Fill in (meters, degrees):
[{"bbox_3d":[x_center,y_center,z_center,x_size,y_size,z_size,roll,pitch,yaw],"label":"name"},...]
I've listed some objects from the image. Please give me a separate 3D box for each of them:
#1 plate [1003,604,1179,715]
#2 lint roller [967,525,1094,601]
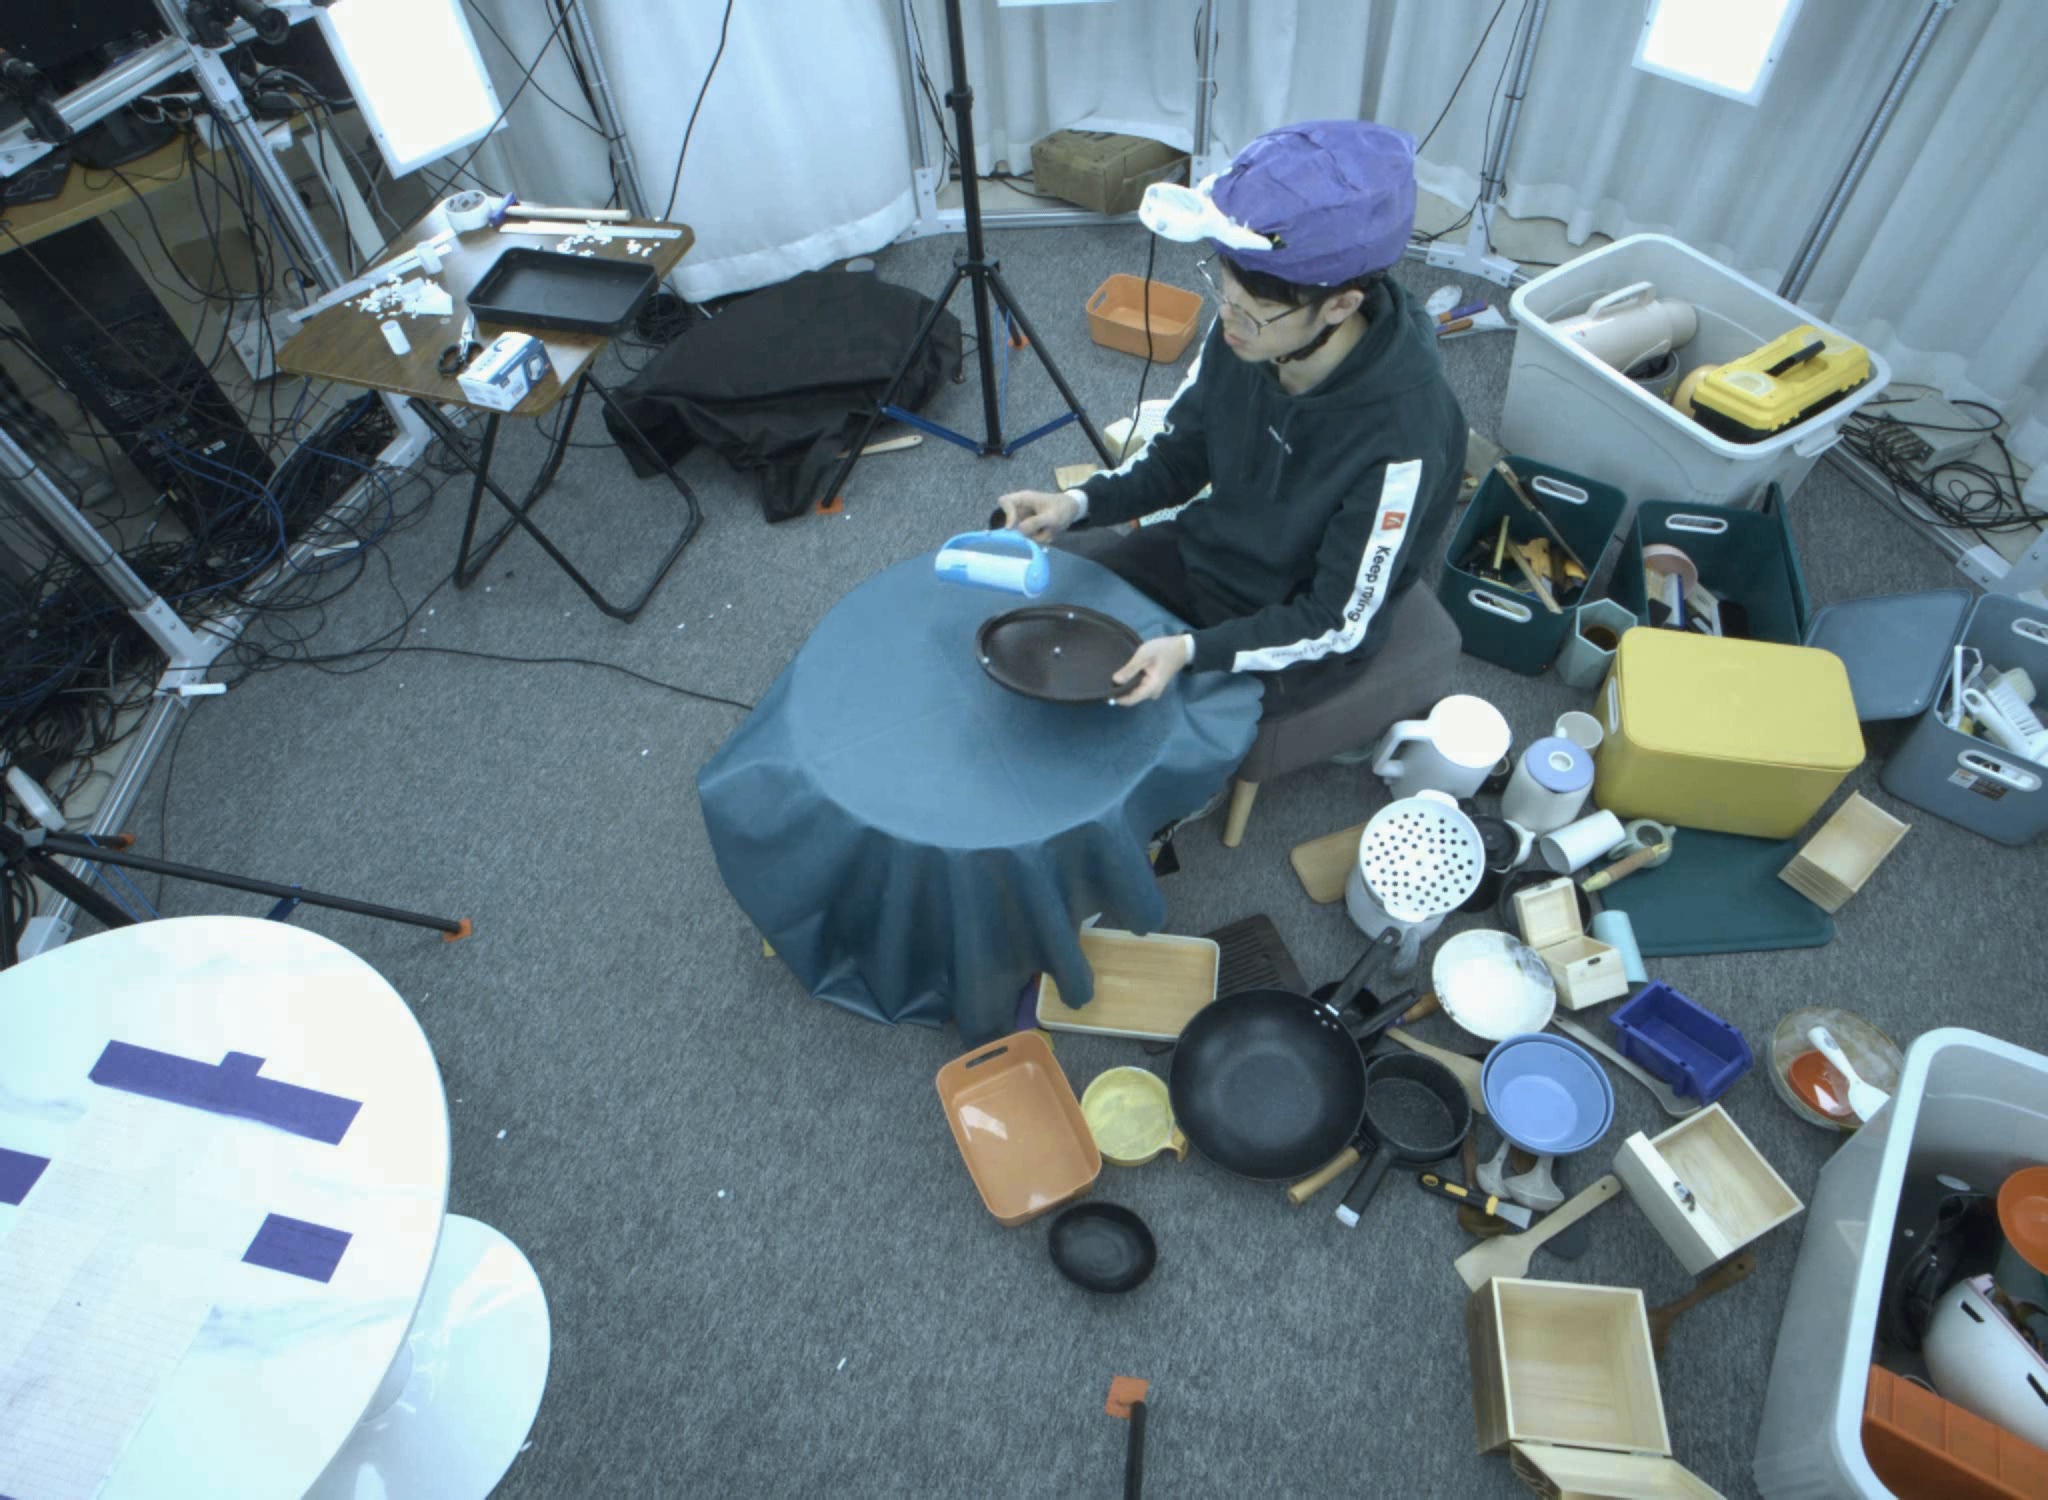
[{"bbox_3d":[0.095,-0.129,1.757,0.255,0.029,0.252,6,40,-4],"label":"plate"},{"bbox_3d":[0.033,-0.298,1.826,0.223,0.069,0.181,14,52,43],"label":"lint roller"}]
